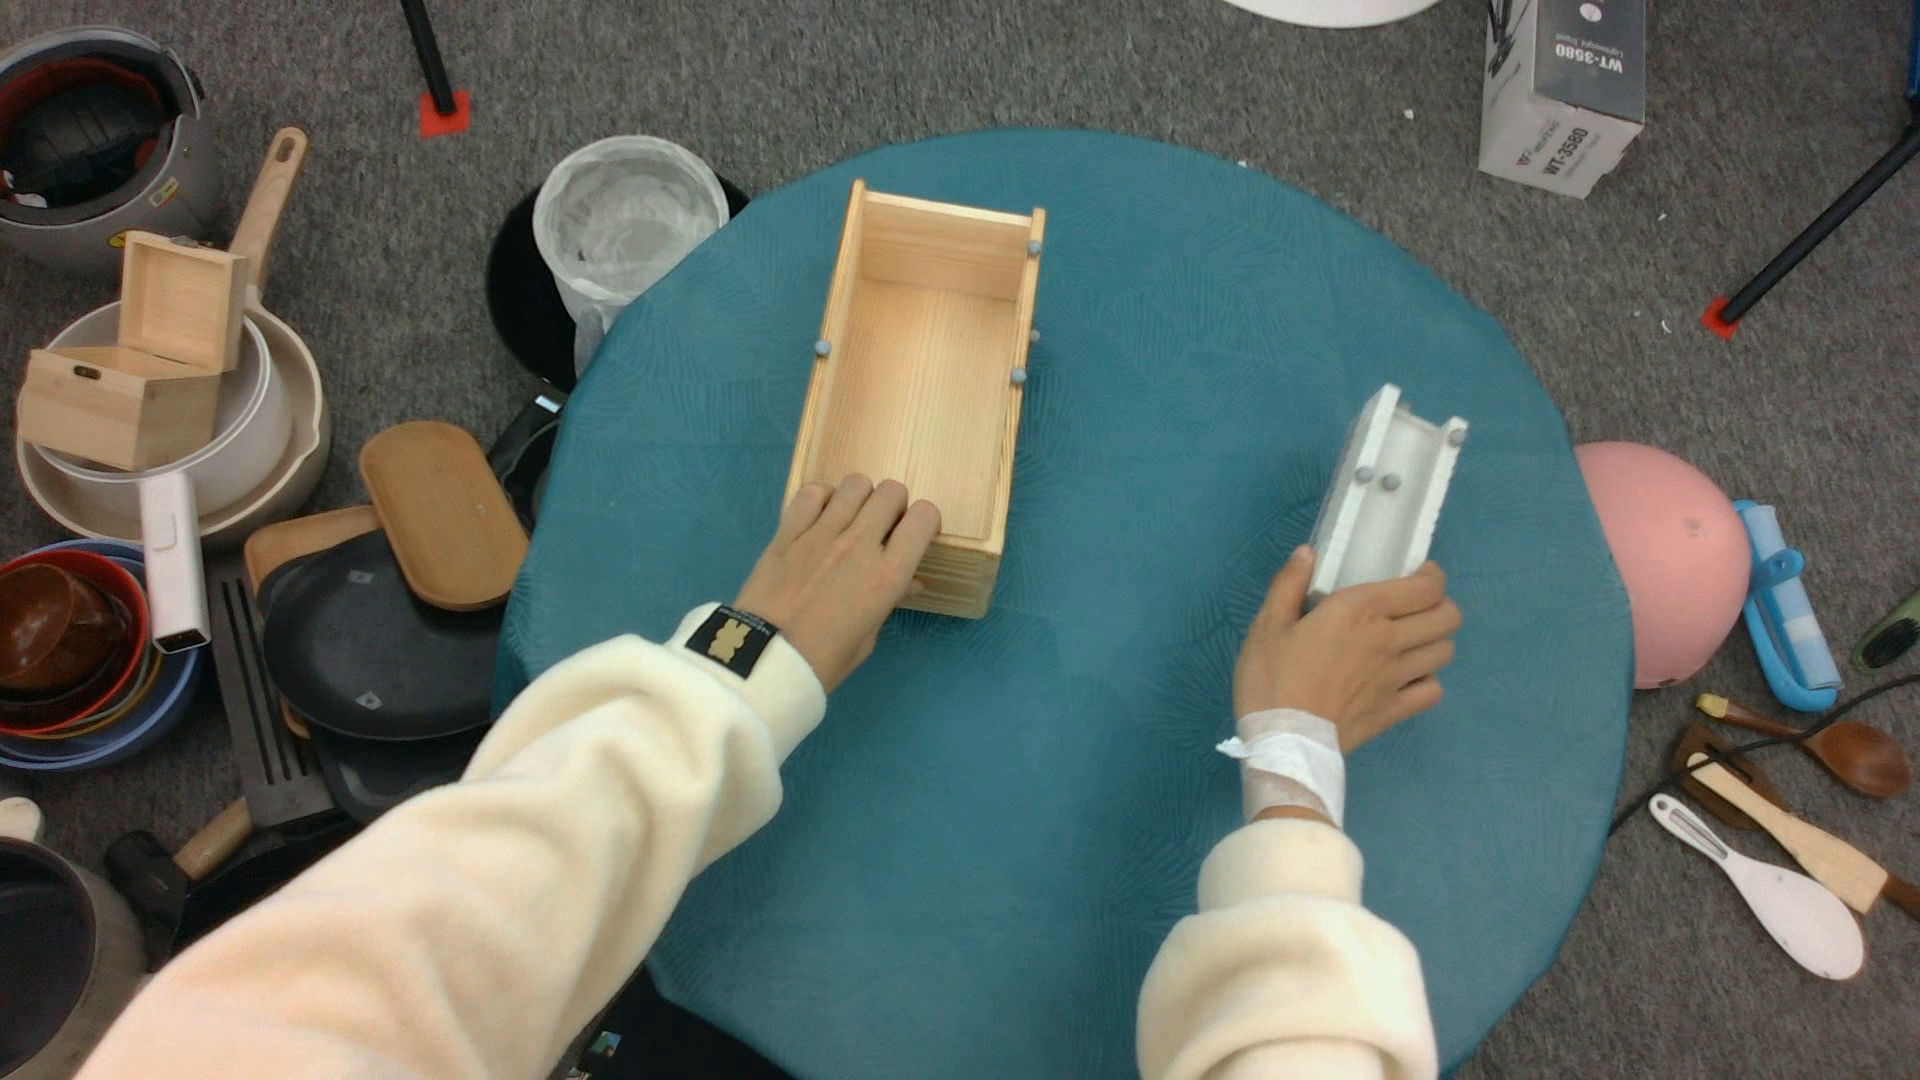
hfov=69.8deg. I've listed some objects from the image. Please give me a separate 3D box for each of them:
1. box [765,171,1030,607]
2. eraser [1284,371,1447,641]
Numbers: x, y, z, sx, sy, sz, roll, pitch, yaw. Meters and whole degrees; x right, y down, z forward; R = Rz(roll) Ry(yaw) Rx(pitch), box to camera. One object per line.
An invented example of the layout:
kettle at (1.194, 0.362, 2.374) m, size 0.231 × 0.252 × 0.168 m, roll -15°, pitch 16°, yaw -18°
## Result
box at (-0.030, -0.081, 0.722) m, size 0.107 × 0.080 × 0.212 m, roll 8°, pitch 62°, yaw -2°
eraser at (0.210, -0.018, 0.716) m, size 0.050 × 0.046 × 0.135 m, roll 25°, pitch 61°, yaw -3°
